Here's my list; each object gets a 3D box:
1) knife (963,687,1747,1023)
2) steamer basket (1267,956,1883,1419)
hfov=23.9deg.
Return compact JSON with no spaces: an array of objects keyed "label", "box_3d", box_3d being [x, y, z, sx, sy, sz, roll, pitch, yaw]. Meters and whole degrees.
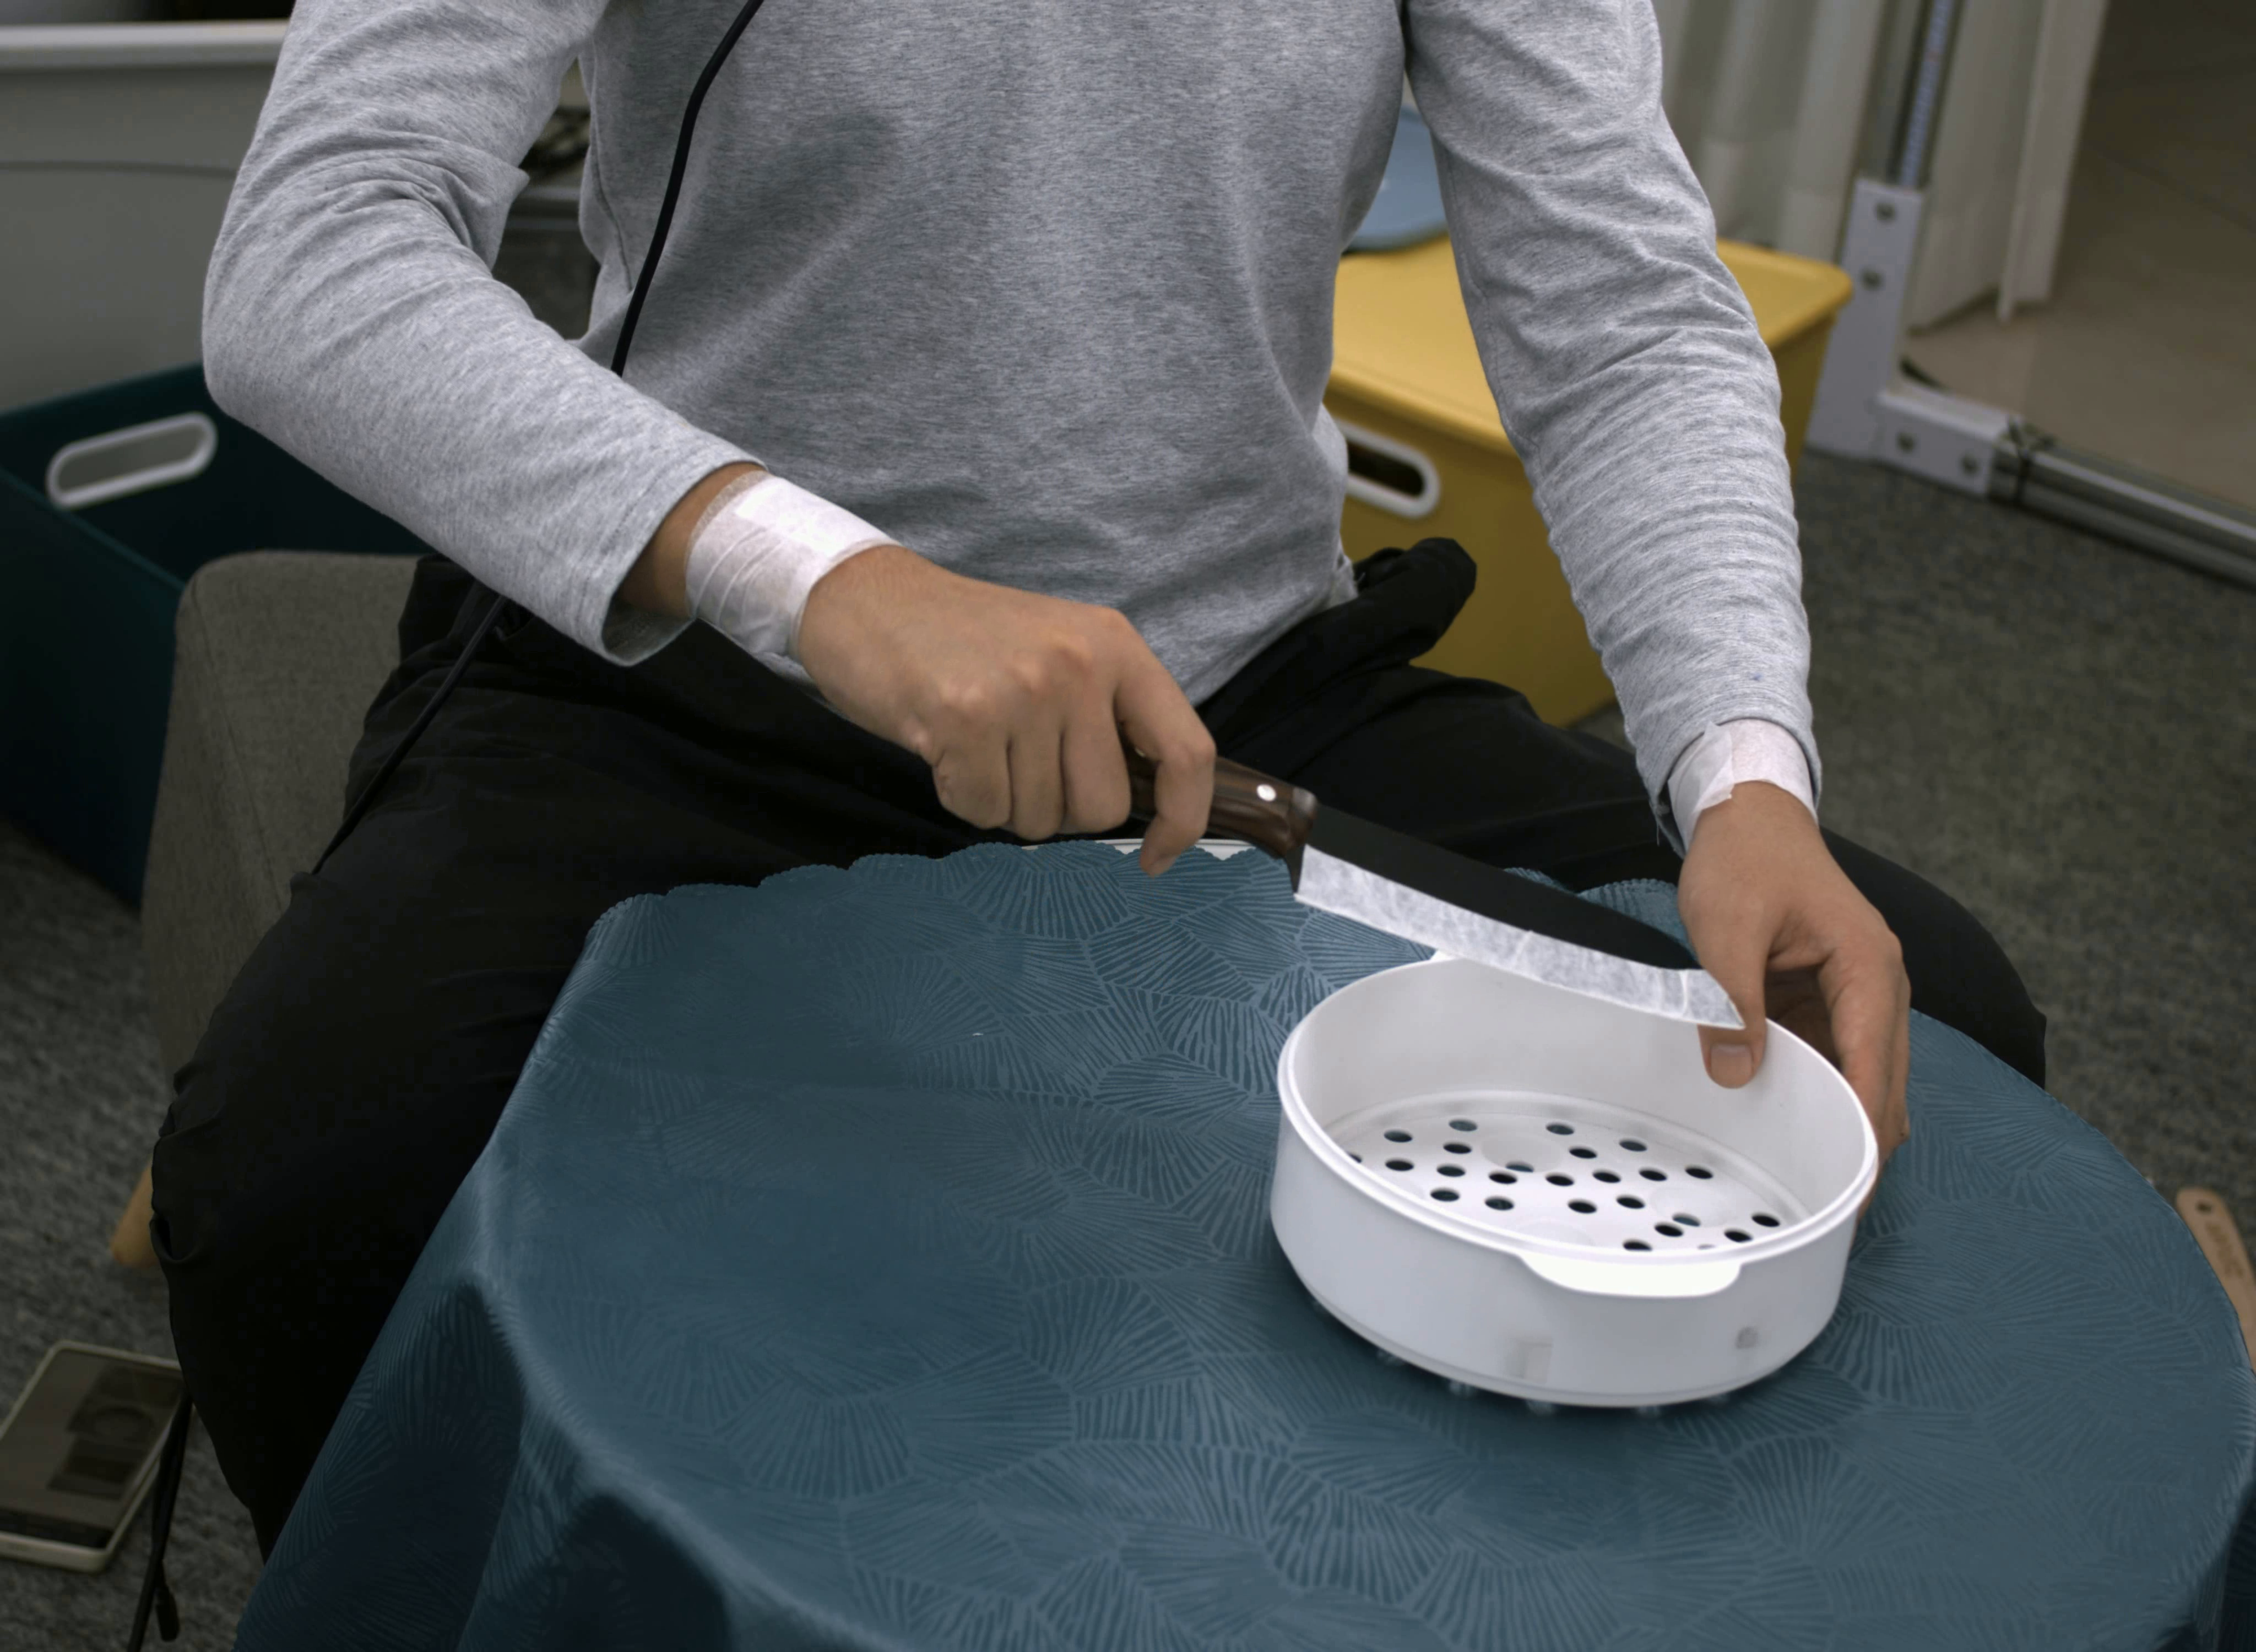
[{"label":"knife","box_3d":[0.078,0.012,1.776,0.287,0.020,0.050,21,50,-11]},{"label":"steamer basket","box_3d":[0.146,0.121,1.770,0.201,0.069,0.232,3,26,-7]}]
